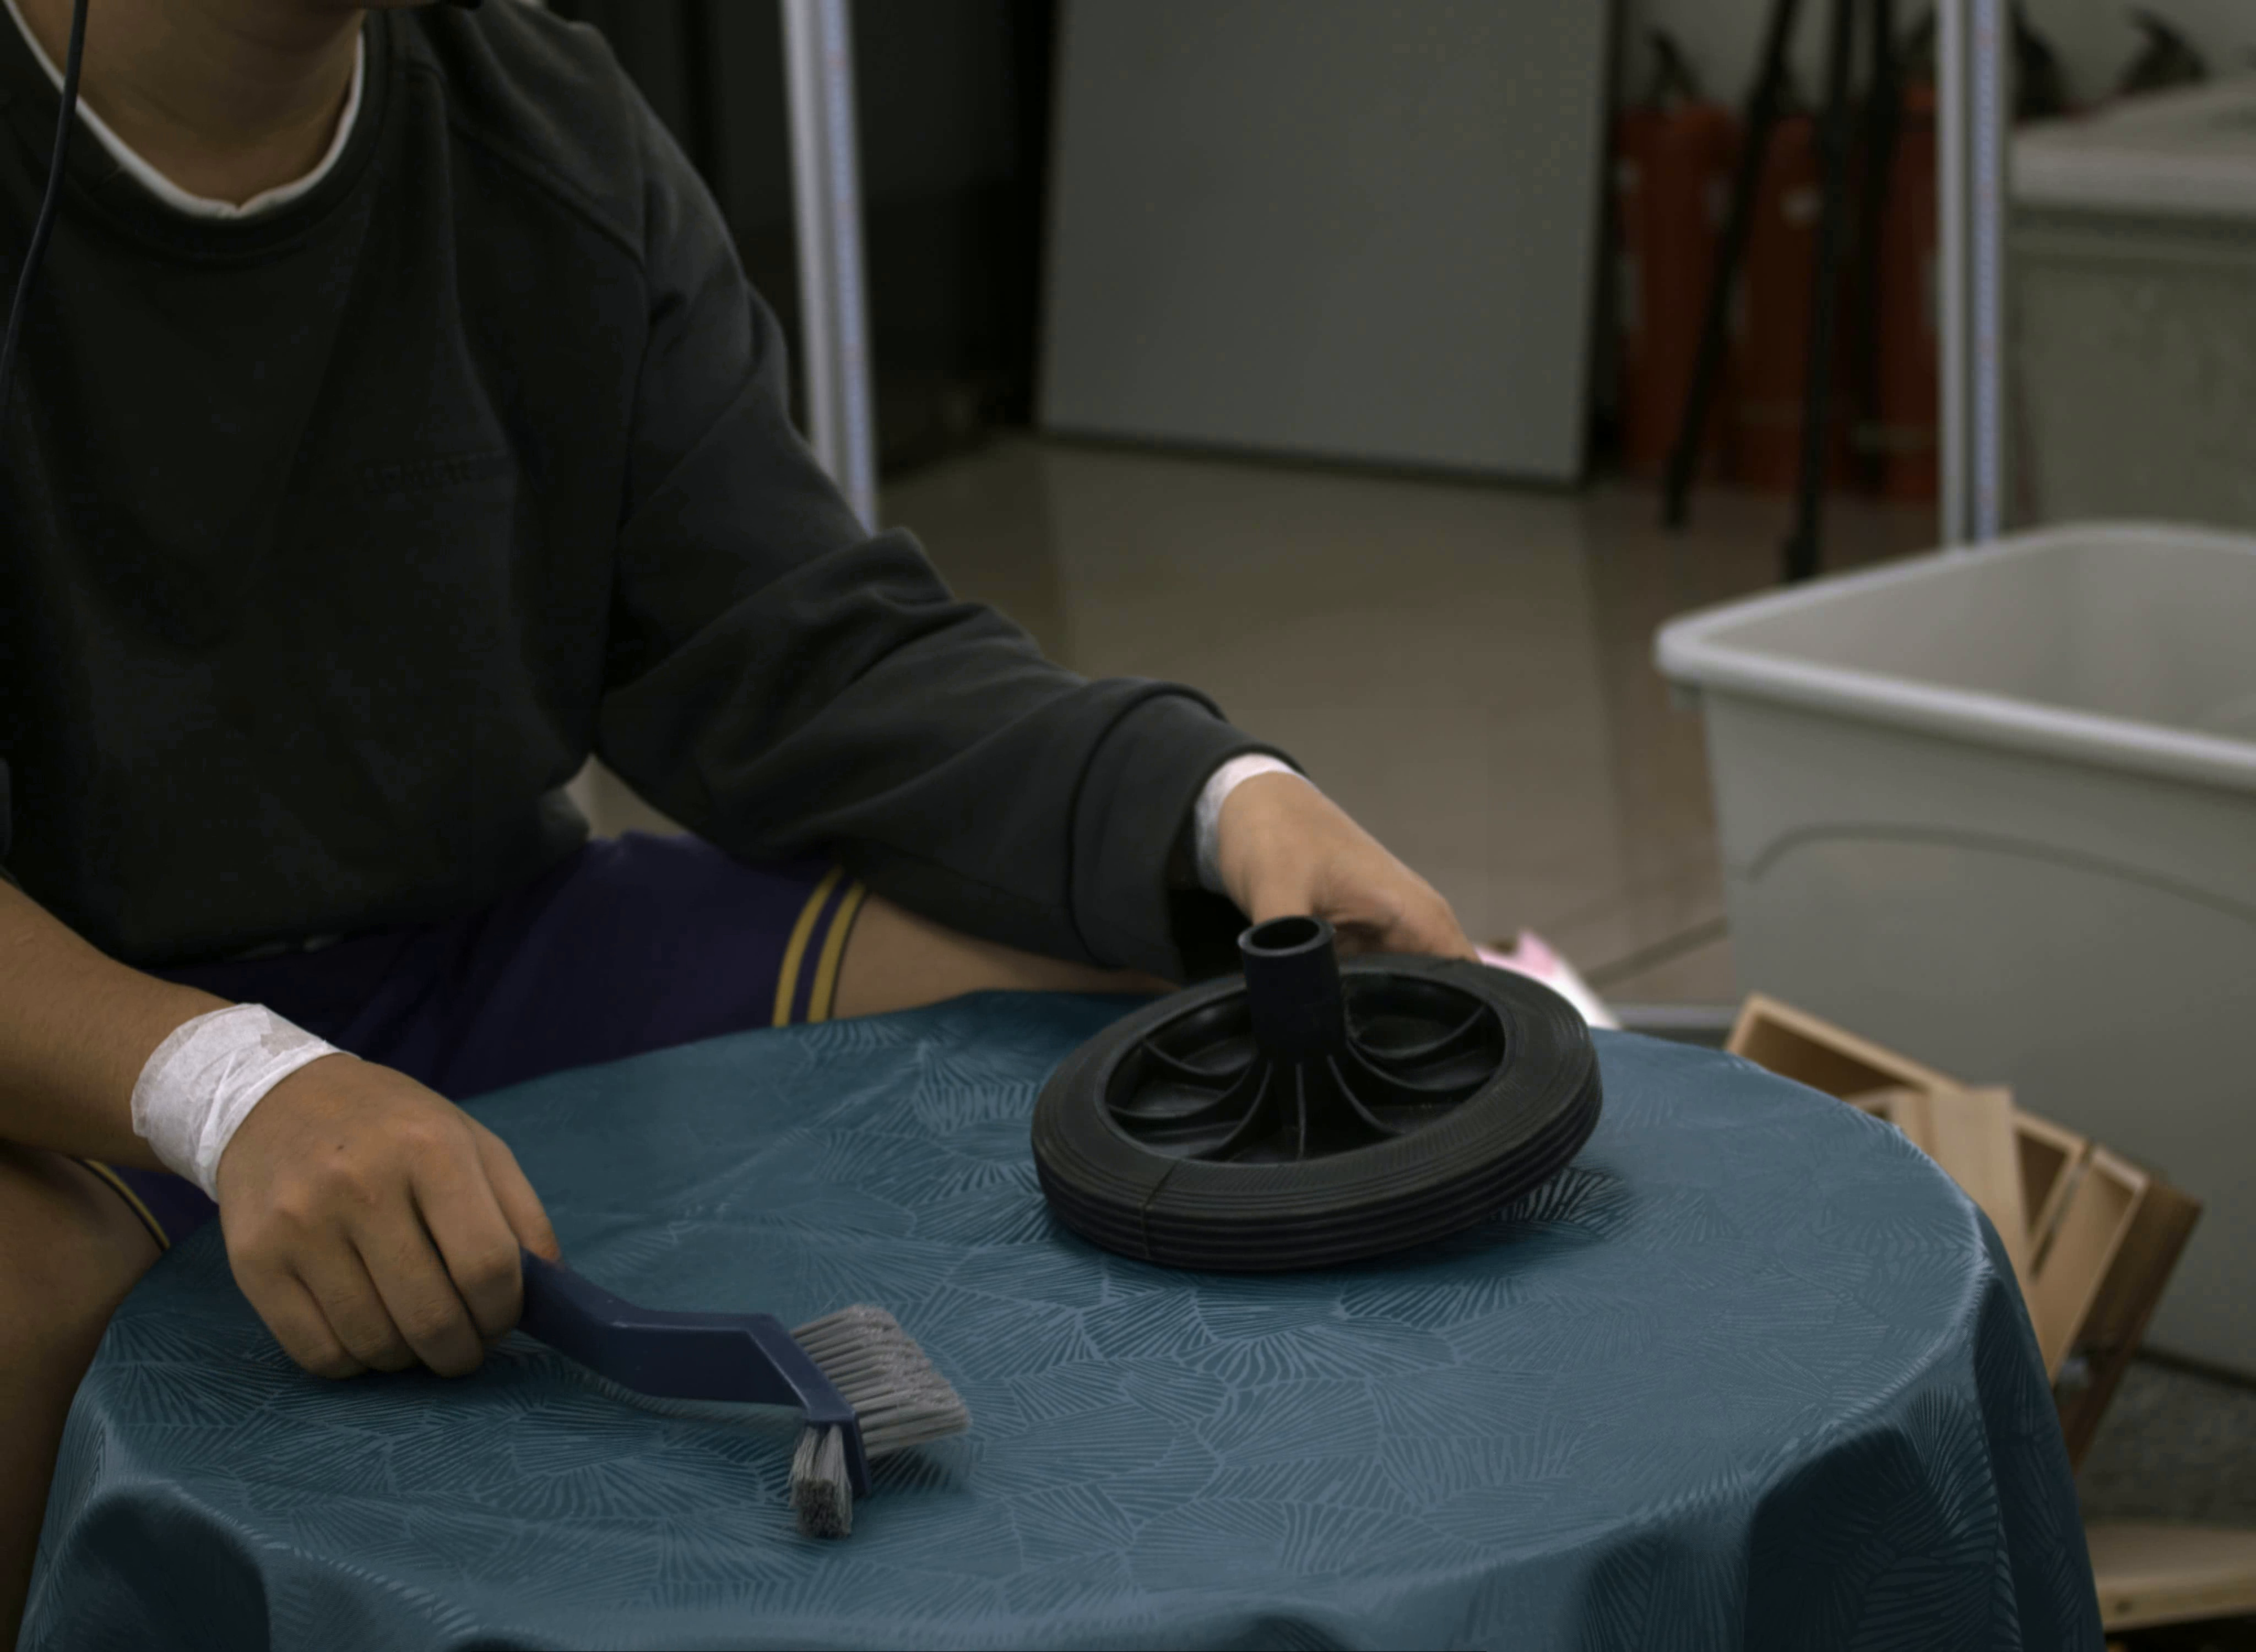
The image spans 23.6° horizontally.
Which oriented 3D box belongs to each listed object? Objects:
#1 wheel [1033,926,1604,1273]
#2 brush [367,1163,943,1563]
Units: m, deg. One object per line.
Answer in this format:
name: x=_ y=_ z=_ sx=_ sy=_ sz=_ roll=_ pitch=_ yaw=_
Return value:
wheel: x=0.058 y=0.075 z=1.743 sx=0.184 sy=0.080 sz=0.191 roll=-16 pitch=21 yaw=-12
brush: x=-0.158 y=0.153 z=1.598 sx=0.276 sy=0.034 sz=0.094 roll=11 pitch=33 yaw=44
